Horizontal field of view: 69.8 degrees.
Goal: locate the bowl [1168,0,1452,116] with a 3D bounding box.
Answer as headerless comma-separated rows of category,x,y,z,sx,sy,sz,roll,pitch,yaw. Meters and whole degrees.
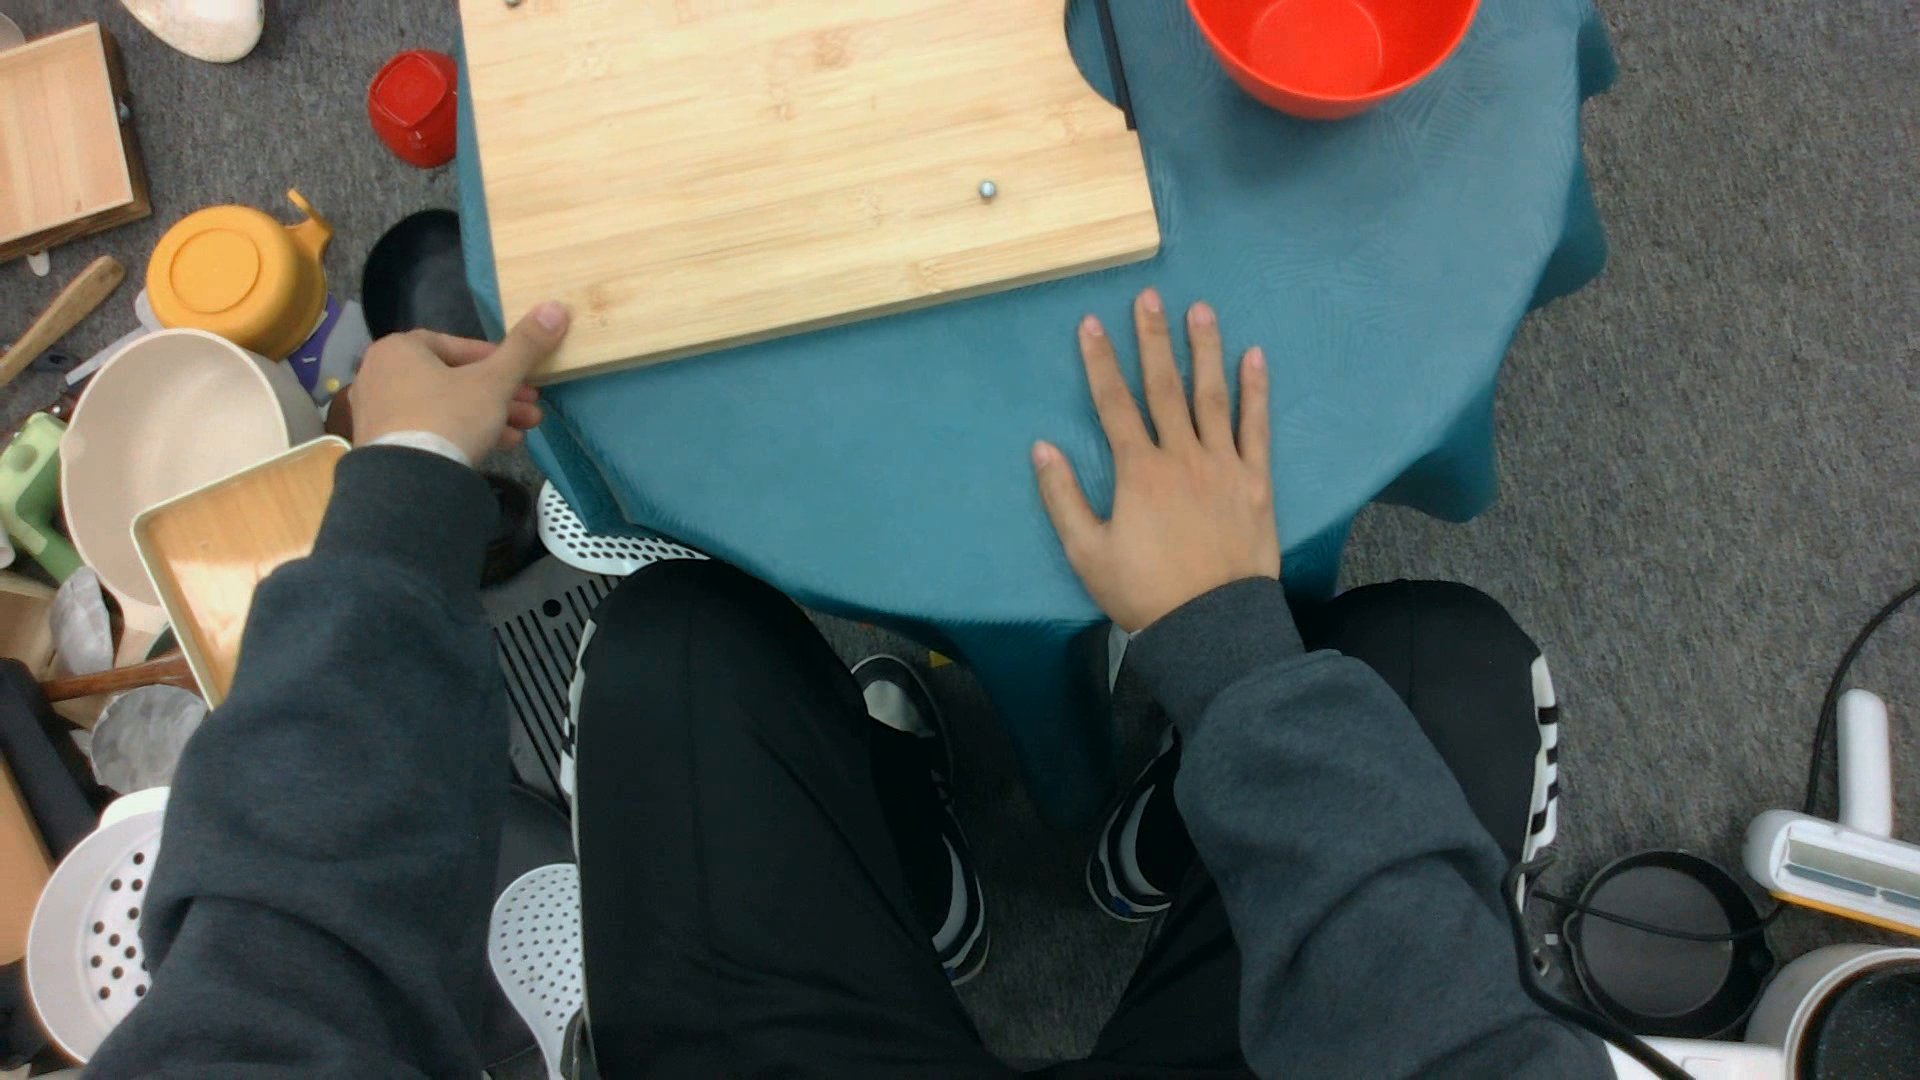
bowl,0.165,-0.274,0.682,0.148,0.104,0.148,0,79,3

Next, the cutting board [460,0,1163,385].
cutting board,-0.089,-0.232,0.734,0.348,0.023,0.251,-13,80,1
